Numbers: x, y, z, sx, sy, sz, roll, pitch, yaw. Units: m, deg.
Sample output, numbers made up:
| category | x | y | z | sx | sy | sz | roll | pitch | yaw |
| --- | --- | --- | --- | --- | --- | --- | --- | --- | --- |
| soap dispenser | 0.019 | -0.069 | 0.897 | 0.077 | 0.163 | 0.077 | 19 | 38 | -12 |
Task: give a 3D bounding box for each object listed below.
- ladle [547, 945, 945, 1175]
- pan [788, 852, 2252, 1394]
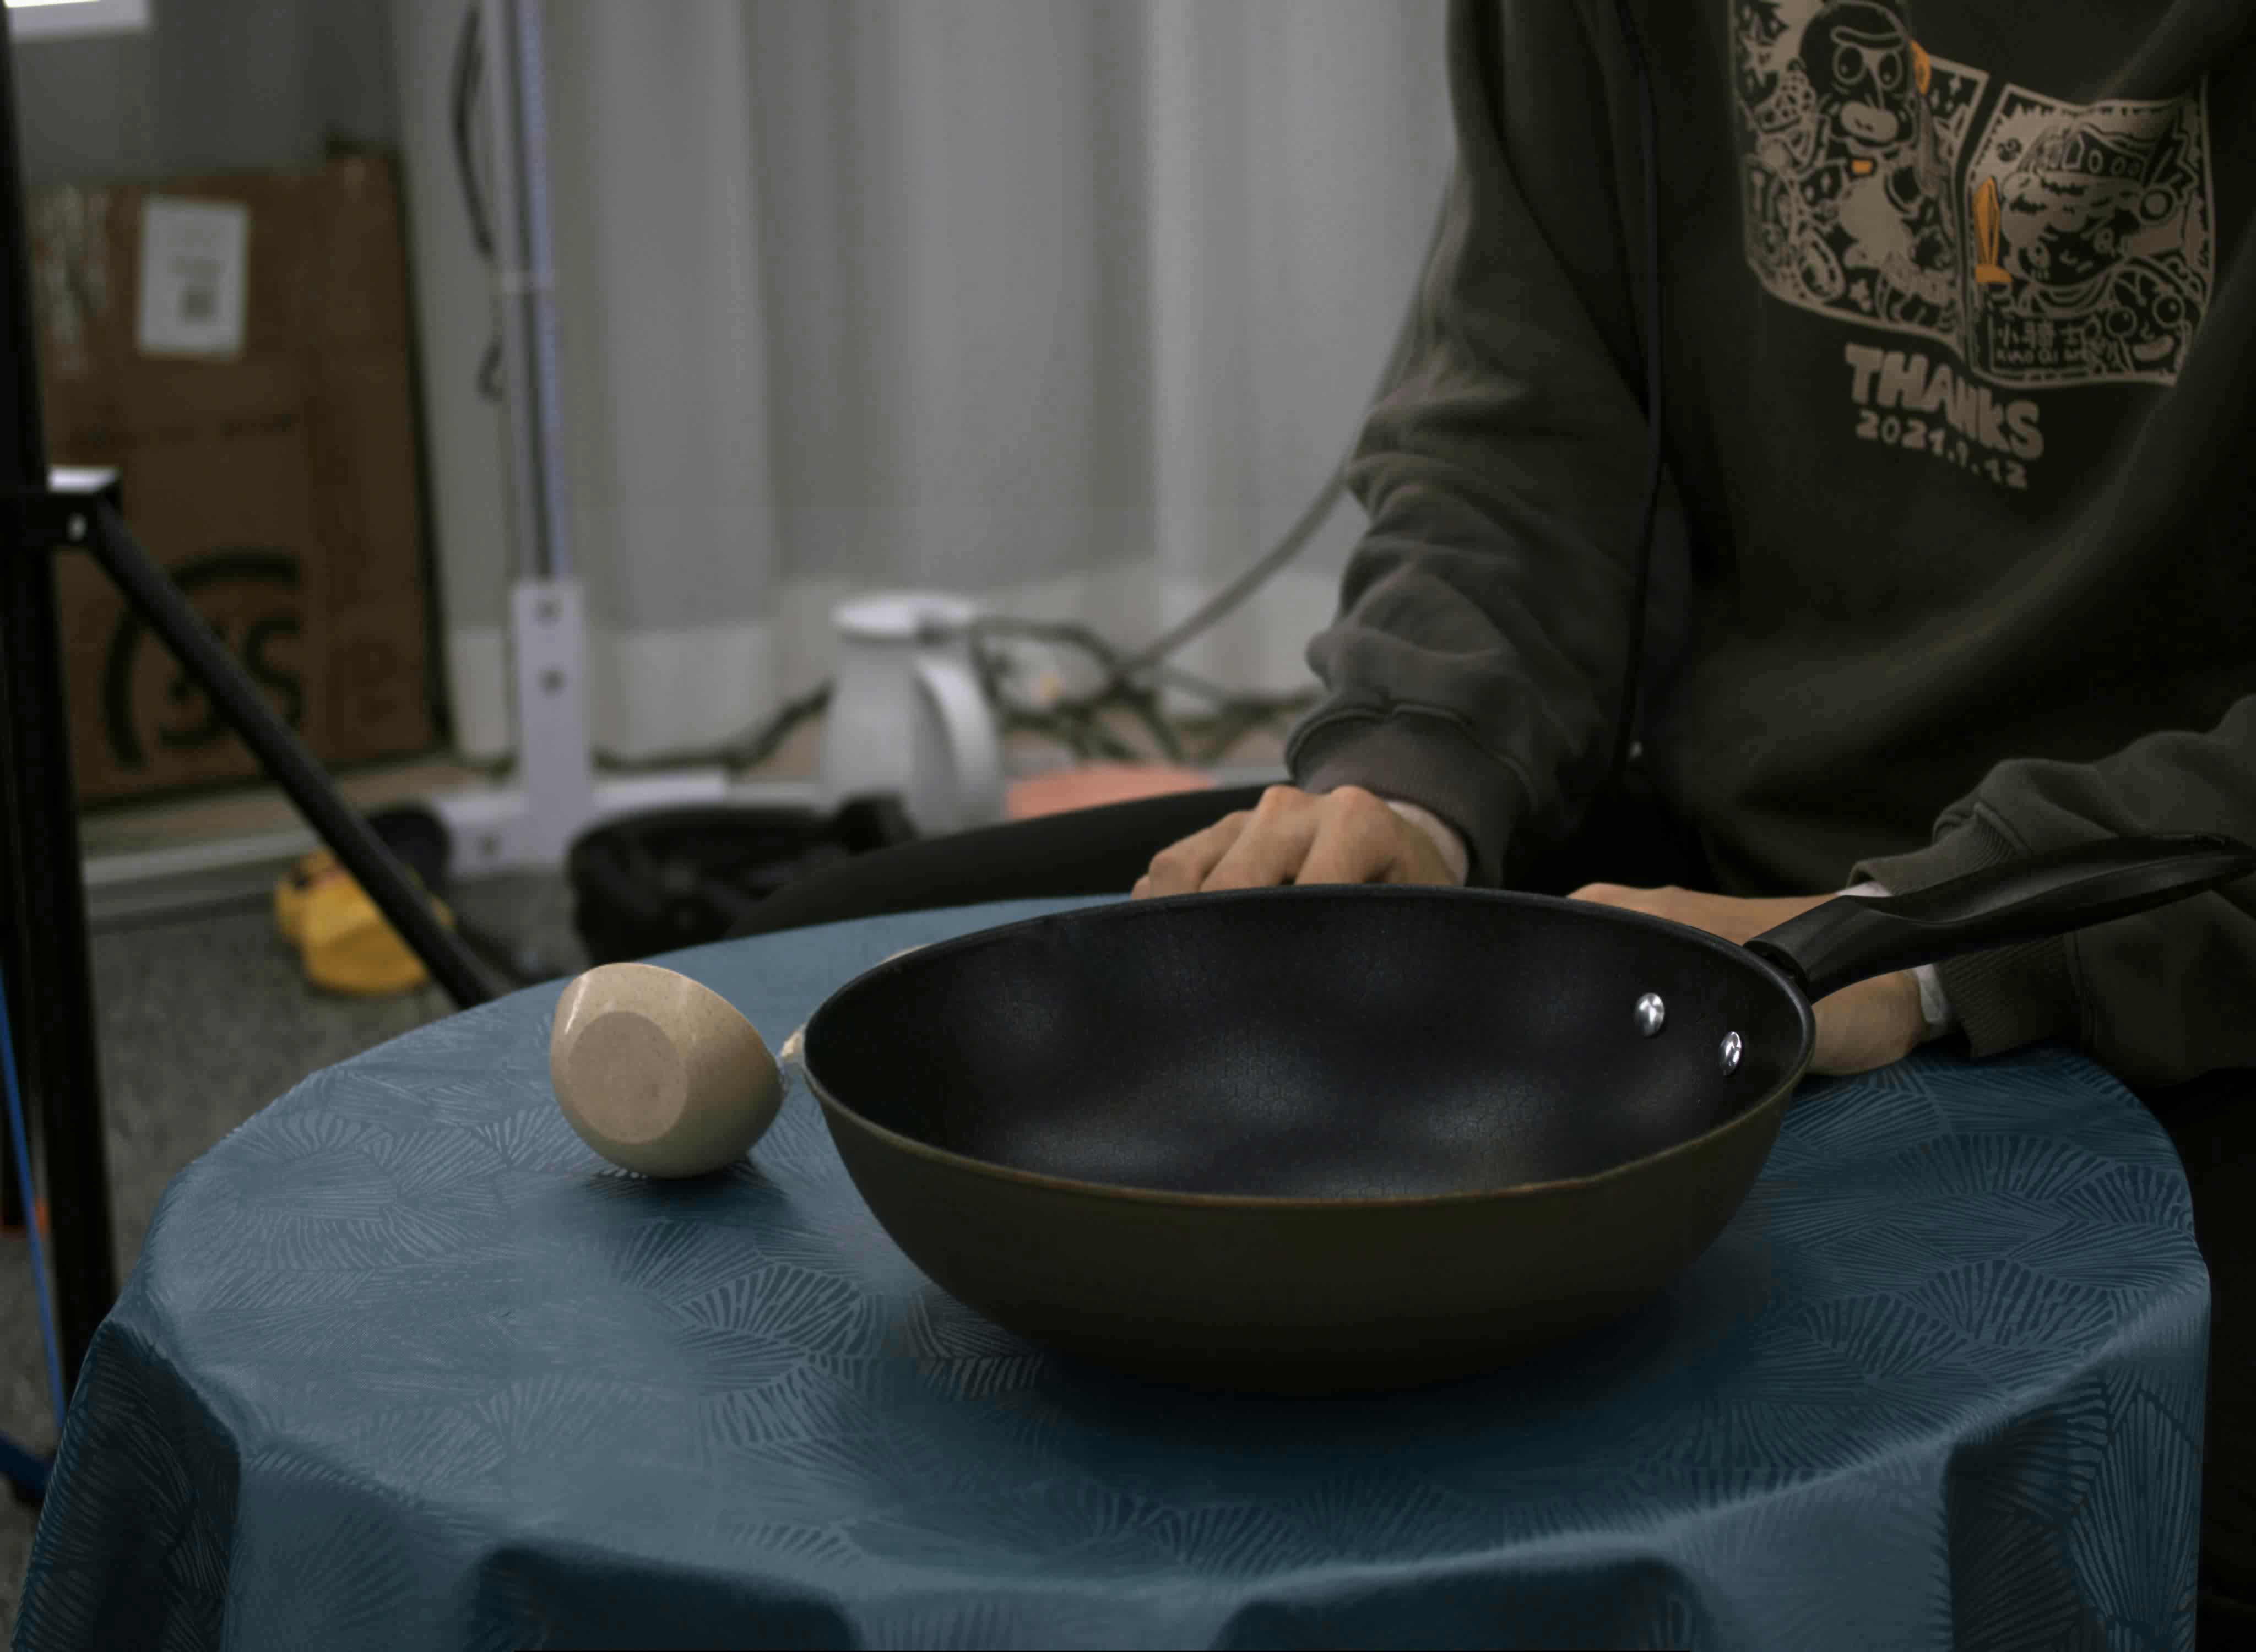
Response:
| category | x | y | z | sx | sy | sz | roll | pitch | yaw |
| --- | --- | --- | --- | --- | --- | --- | --- | --- | --- |
| ladle | -0.109 | 0.043 | 1.678 | 0.073 | 0.073 | 0.252 | -3 | 15 | 19 |
| pan | 0.127 | 0.077 | 1.497 | 0.453 | 0.087 | 0.294 | -9 | 17 | -25 |
